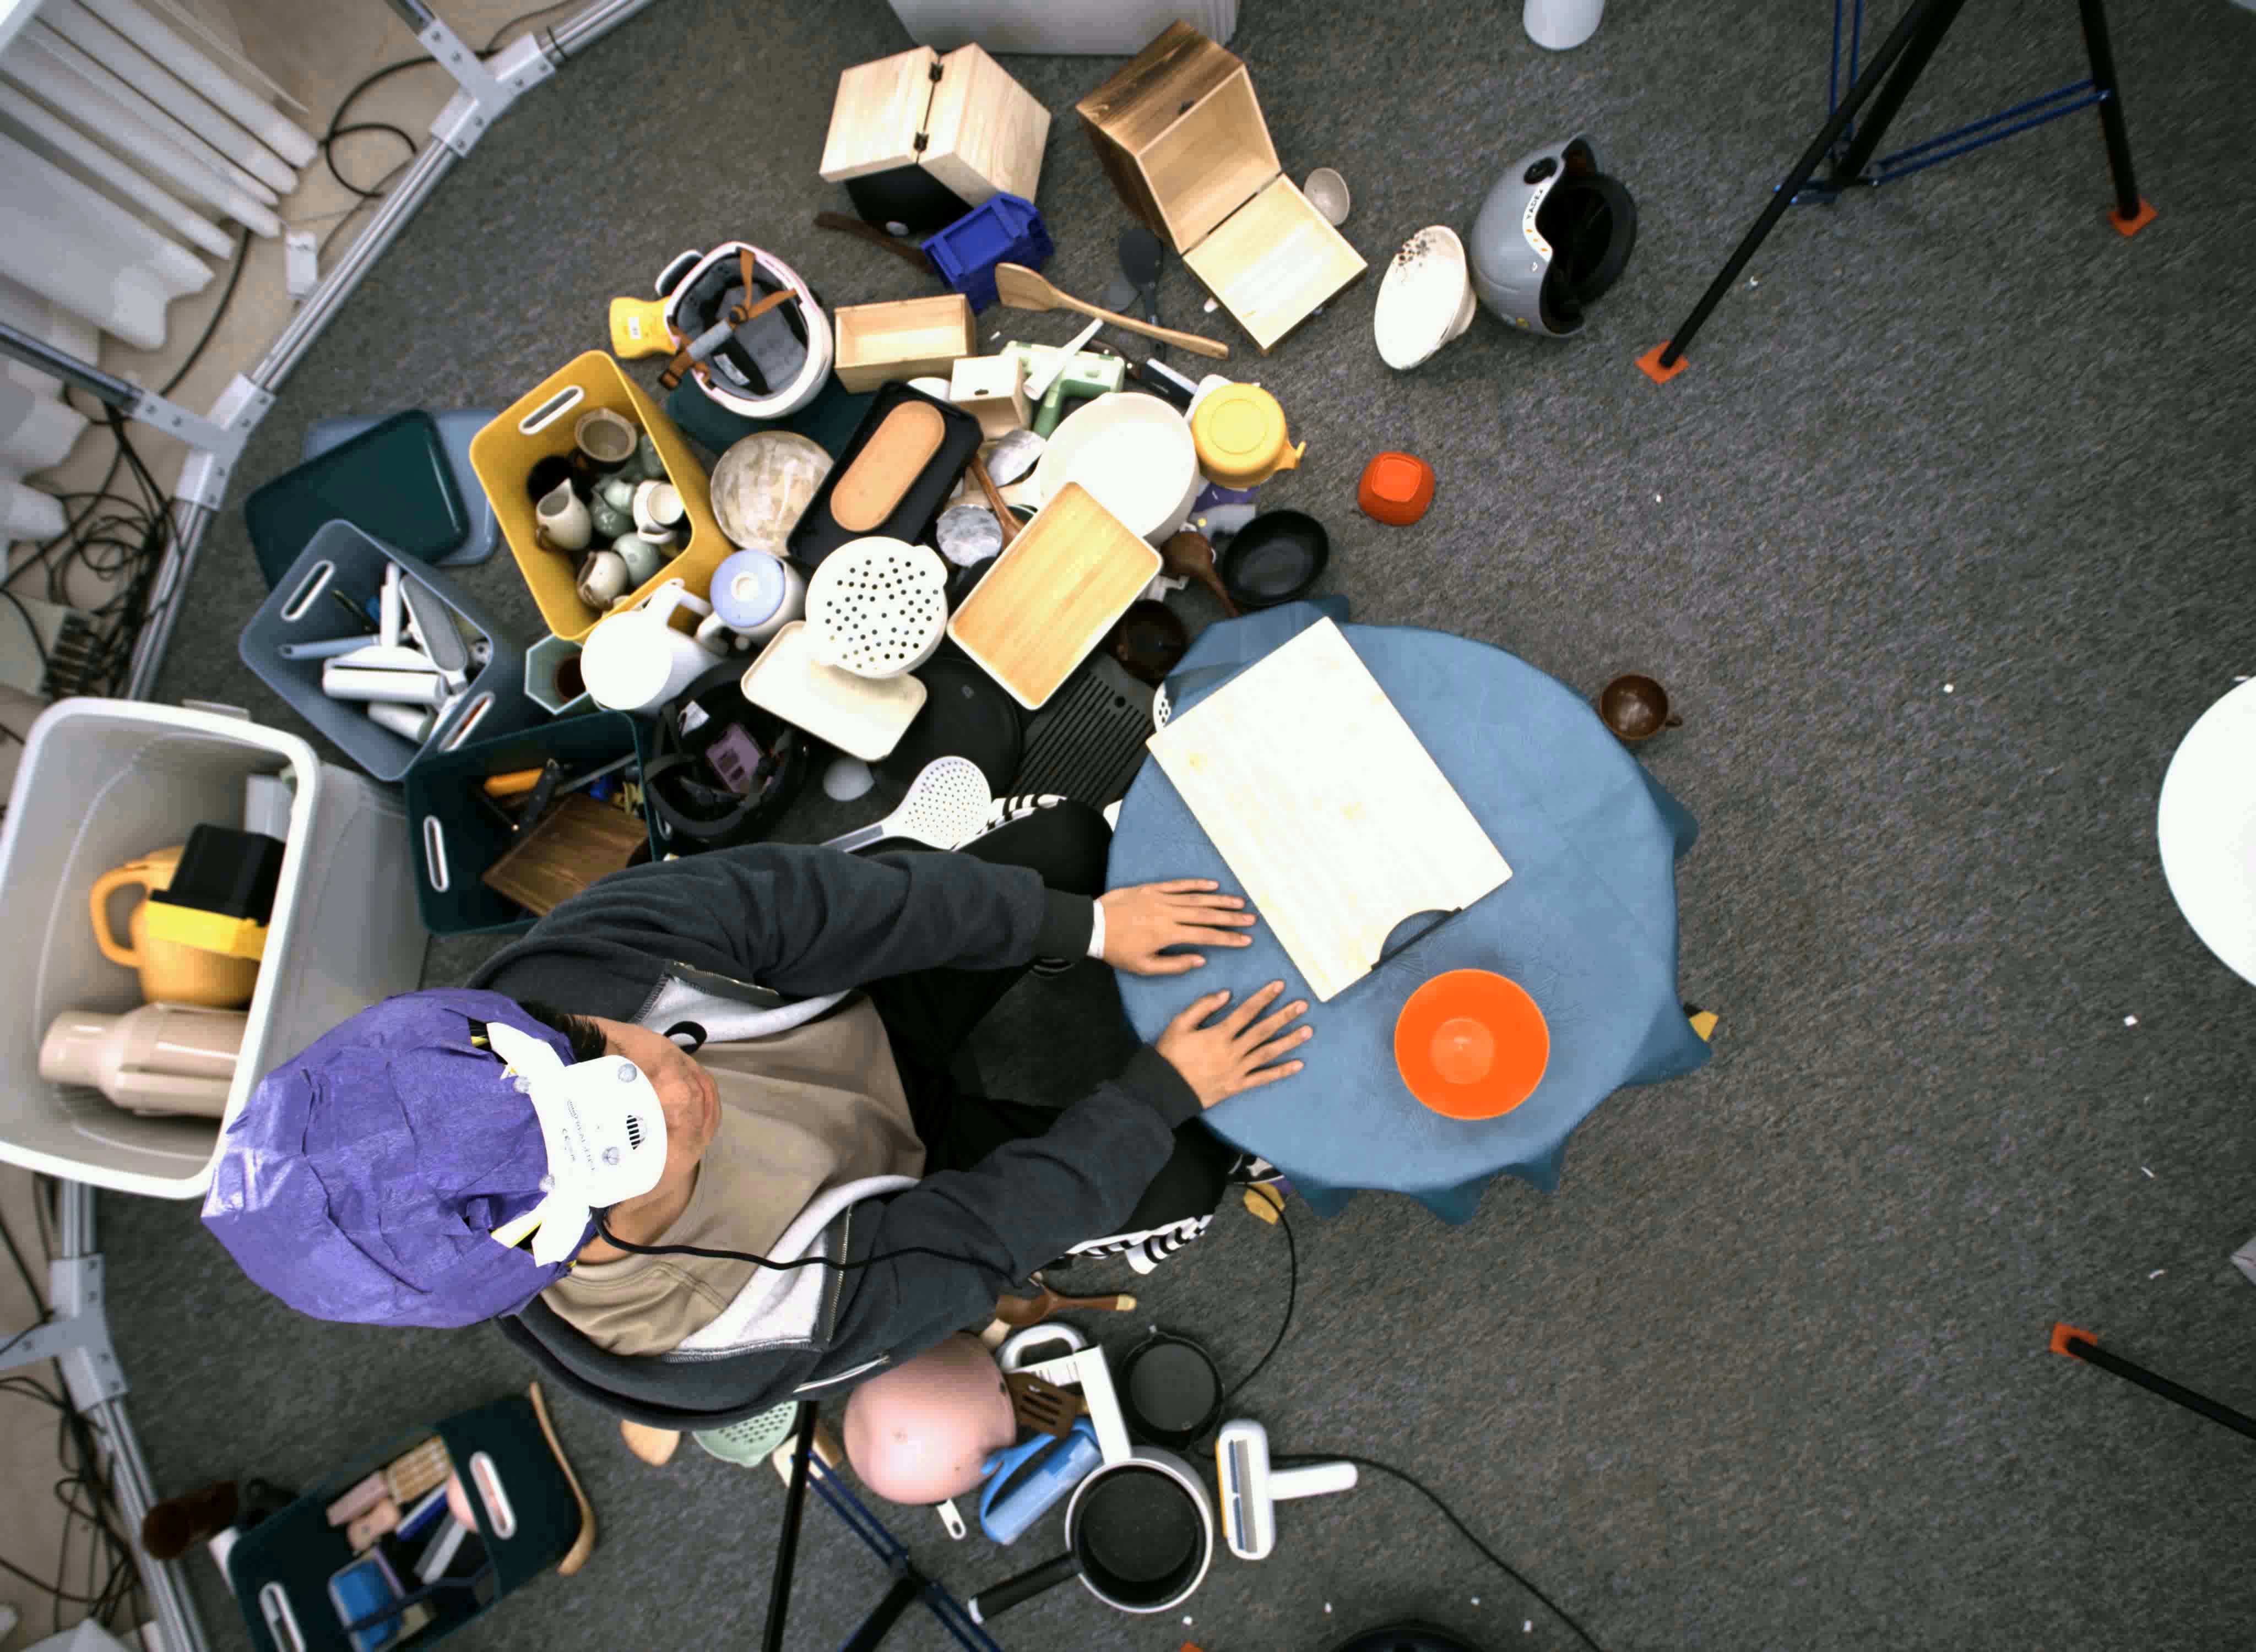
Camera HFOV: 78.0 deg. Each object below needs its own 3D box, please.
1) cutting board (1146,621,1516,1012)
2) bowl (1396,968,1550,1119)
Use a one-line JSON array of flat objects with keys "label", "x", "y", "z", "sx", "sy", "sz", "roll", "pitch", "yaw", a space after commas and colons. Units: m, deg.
[{"label": "cutting board", "x": 0.212, "y": -0.016, "z": 1.467, "sx": 0.252, "sy": 0.023, "sz": 0.346, "roll": -36, "pitch": 81, "yaw": 7}, {"label": "bowl", "x": 0.341, "y": 0.215, "z": 1.386, "sx": 0.148, "sy": 0.105, "sz": 0.147, "roll": -1, "pitch": 86, "yaw": 8}]
